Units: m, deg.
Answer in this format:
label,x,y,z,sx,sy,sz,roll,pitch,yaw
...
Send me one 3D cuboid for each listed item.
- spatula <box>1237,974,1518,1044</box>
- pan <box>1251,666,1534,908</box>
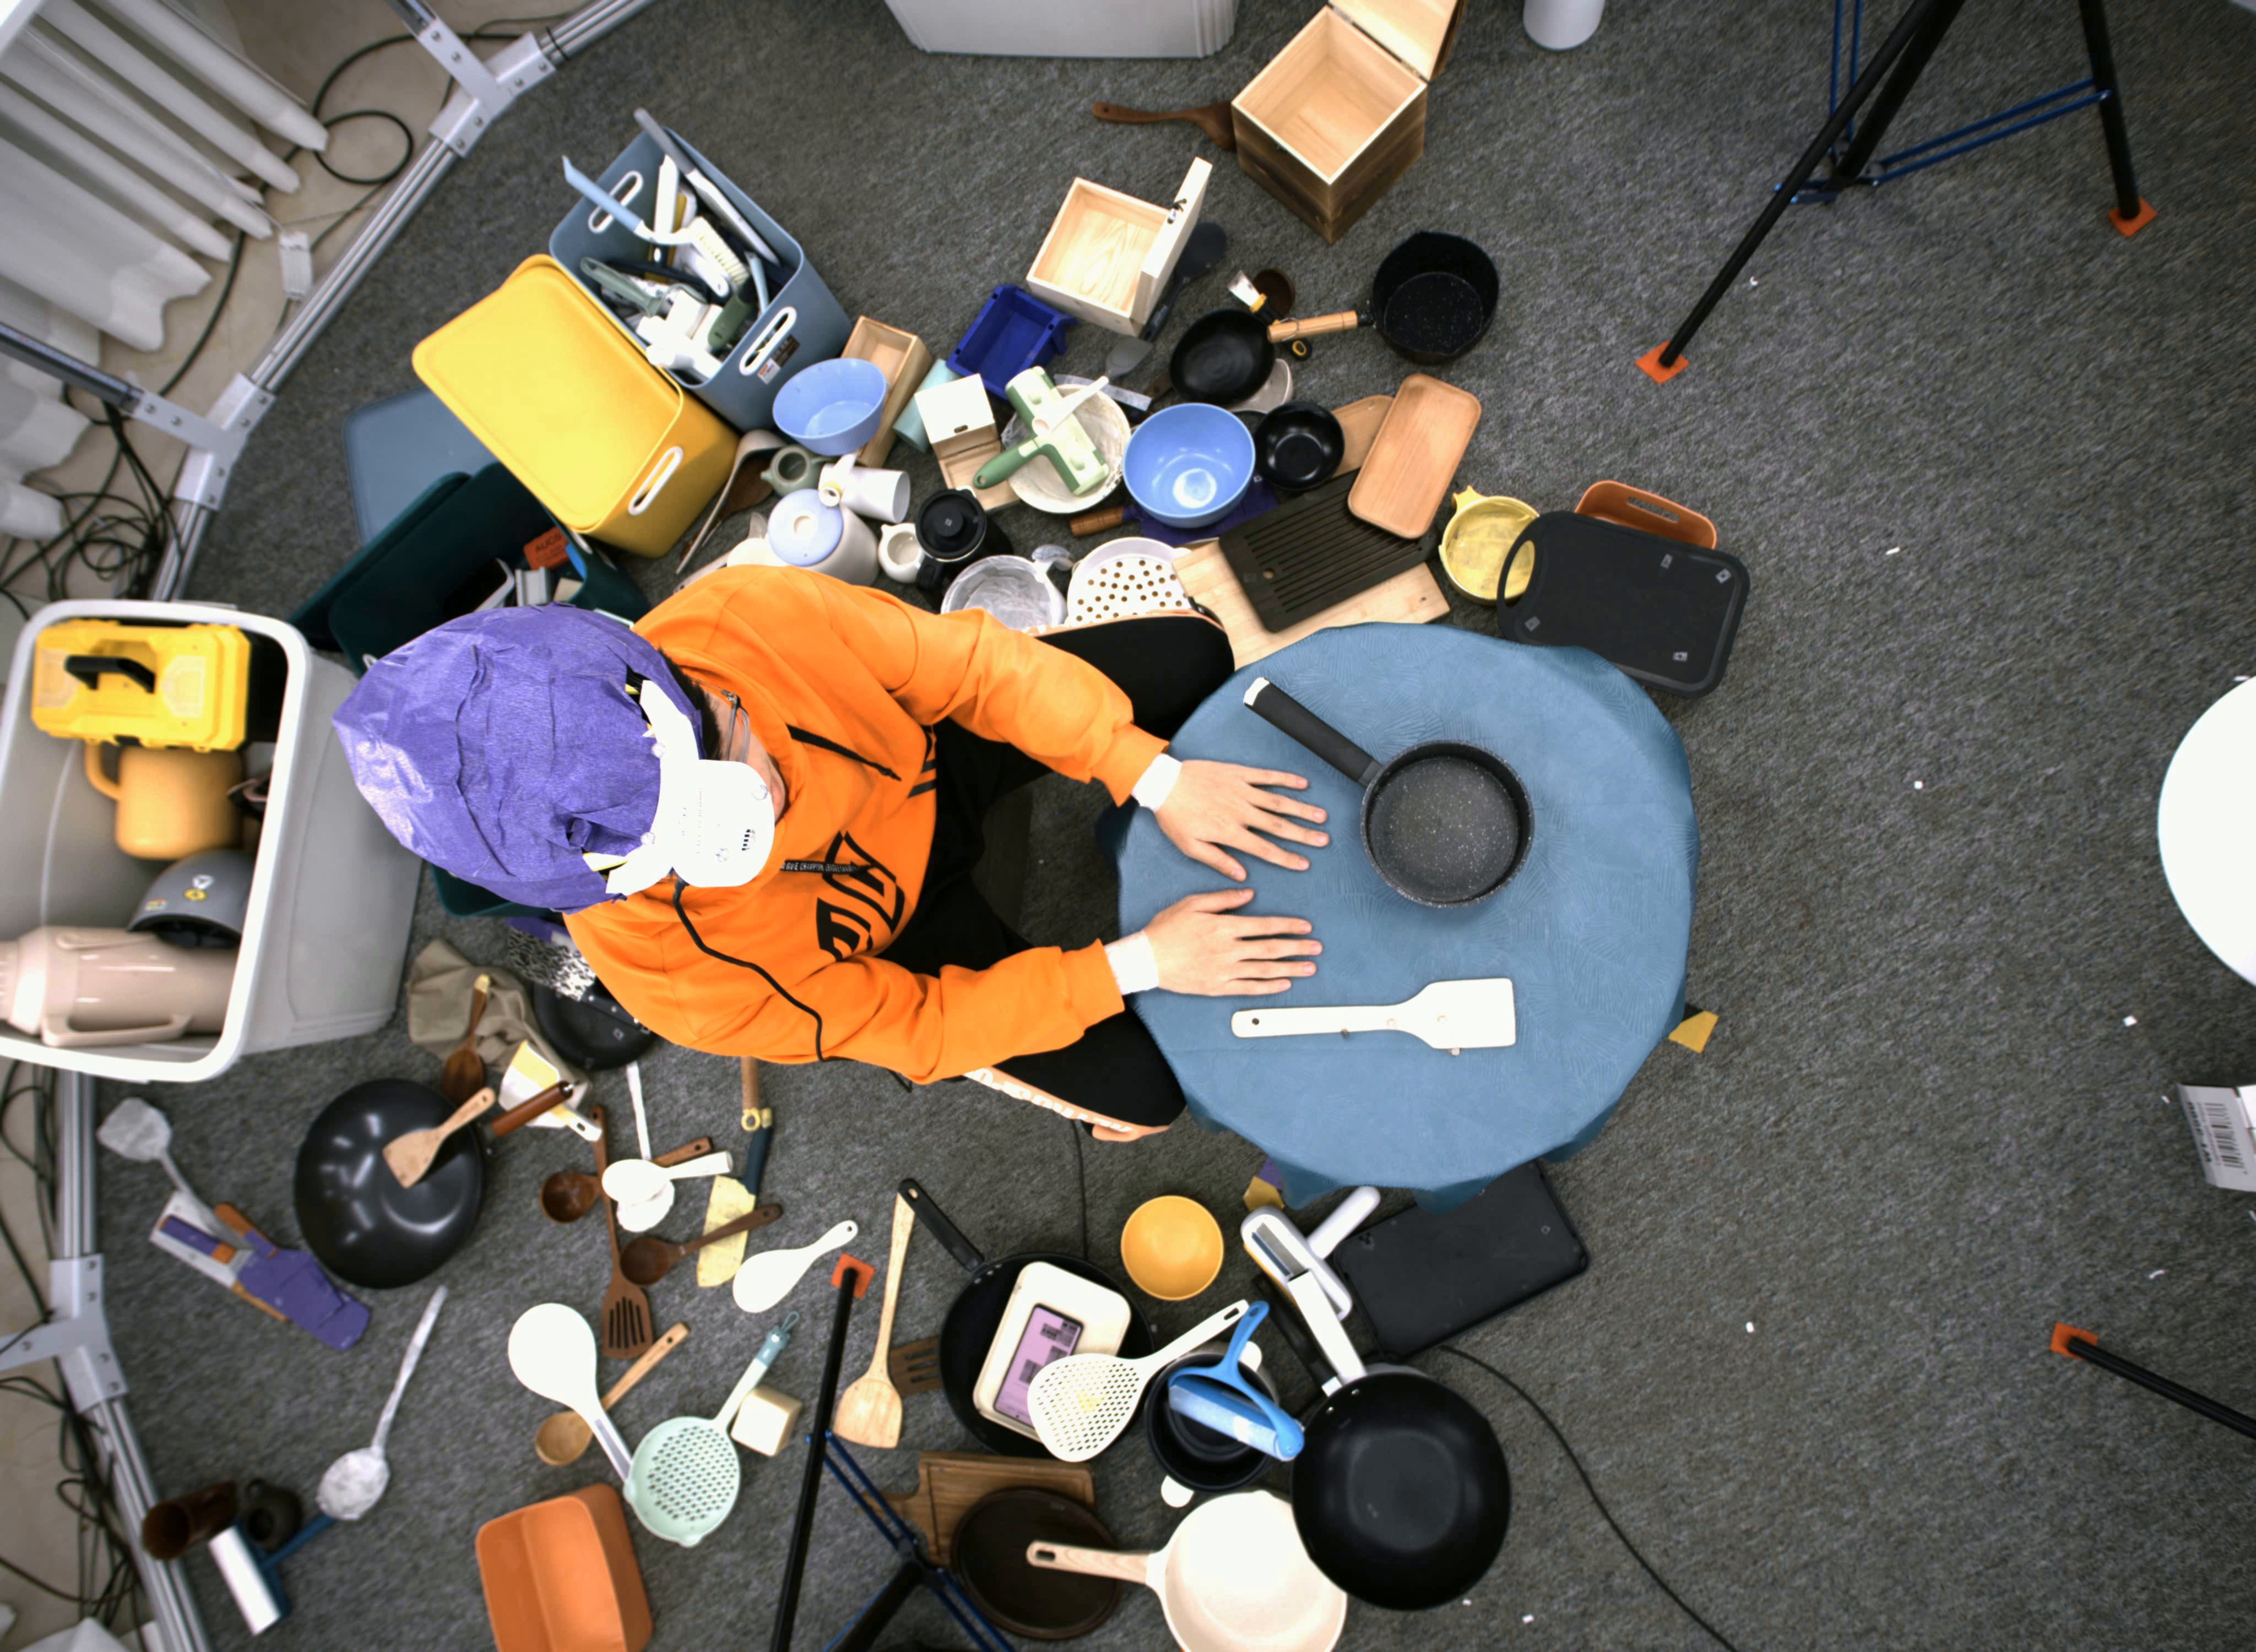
label,x,y,z,sx,sy,sz,roll,pitch,yaw
spatula,0.261,0.198,1.459,0.294,0.010,0.072,-4,89,10
pan,0.264,-0.050,1.425,0.328,0.086,0.172,38,93,9
